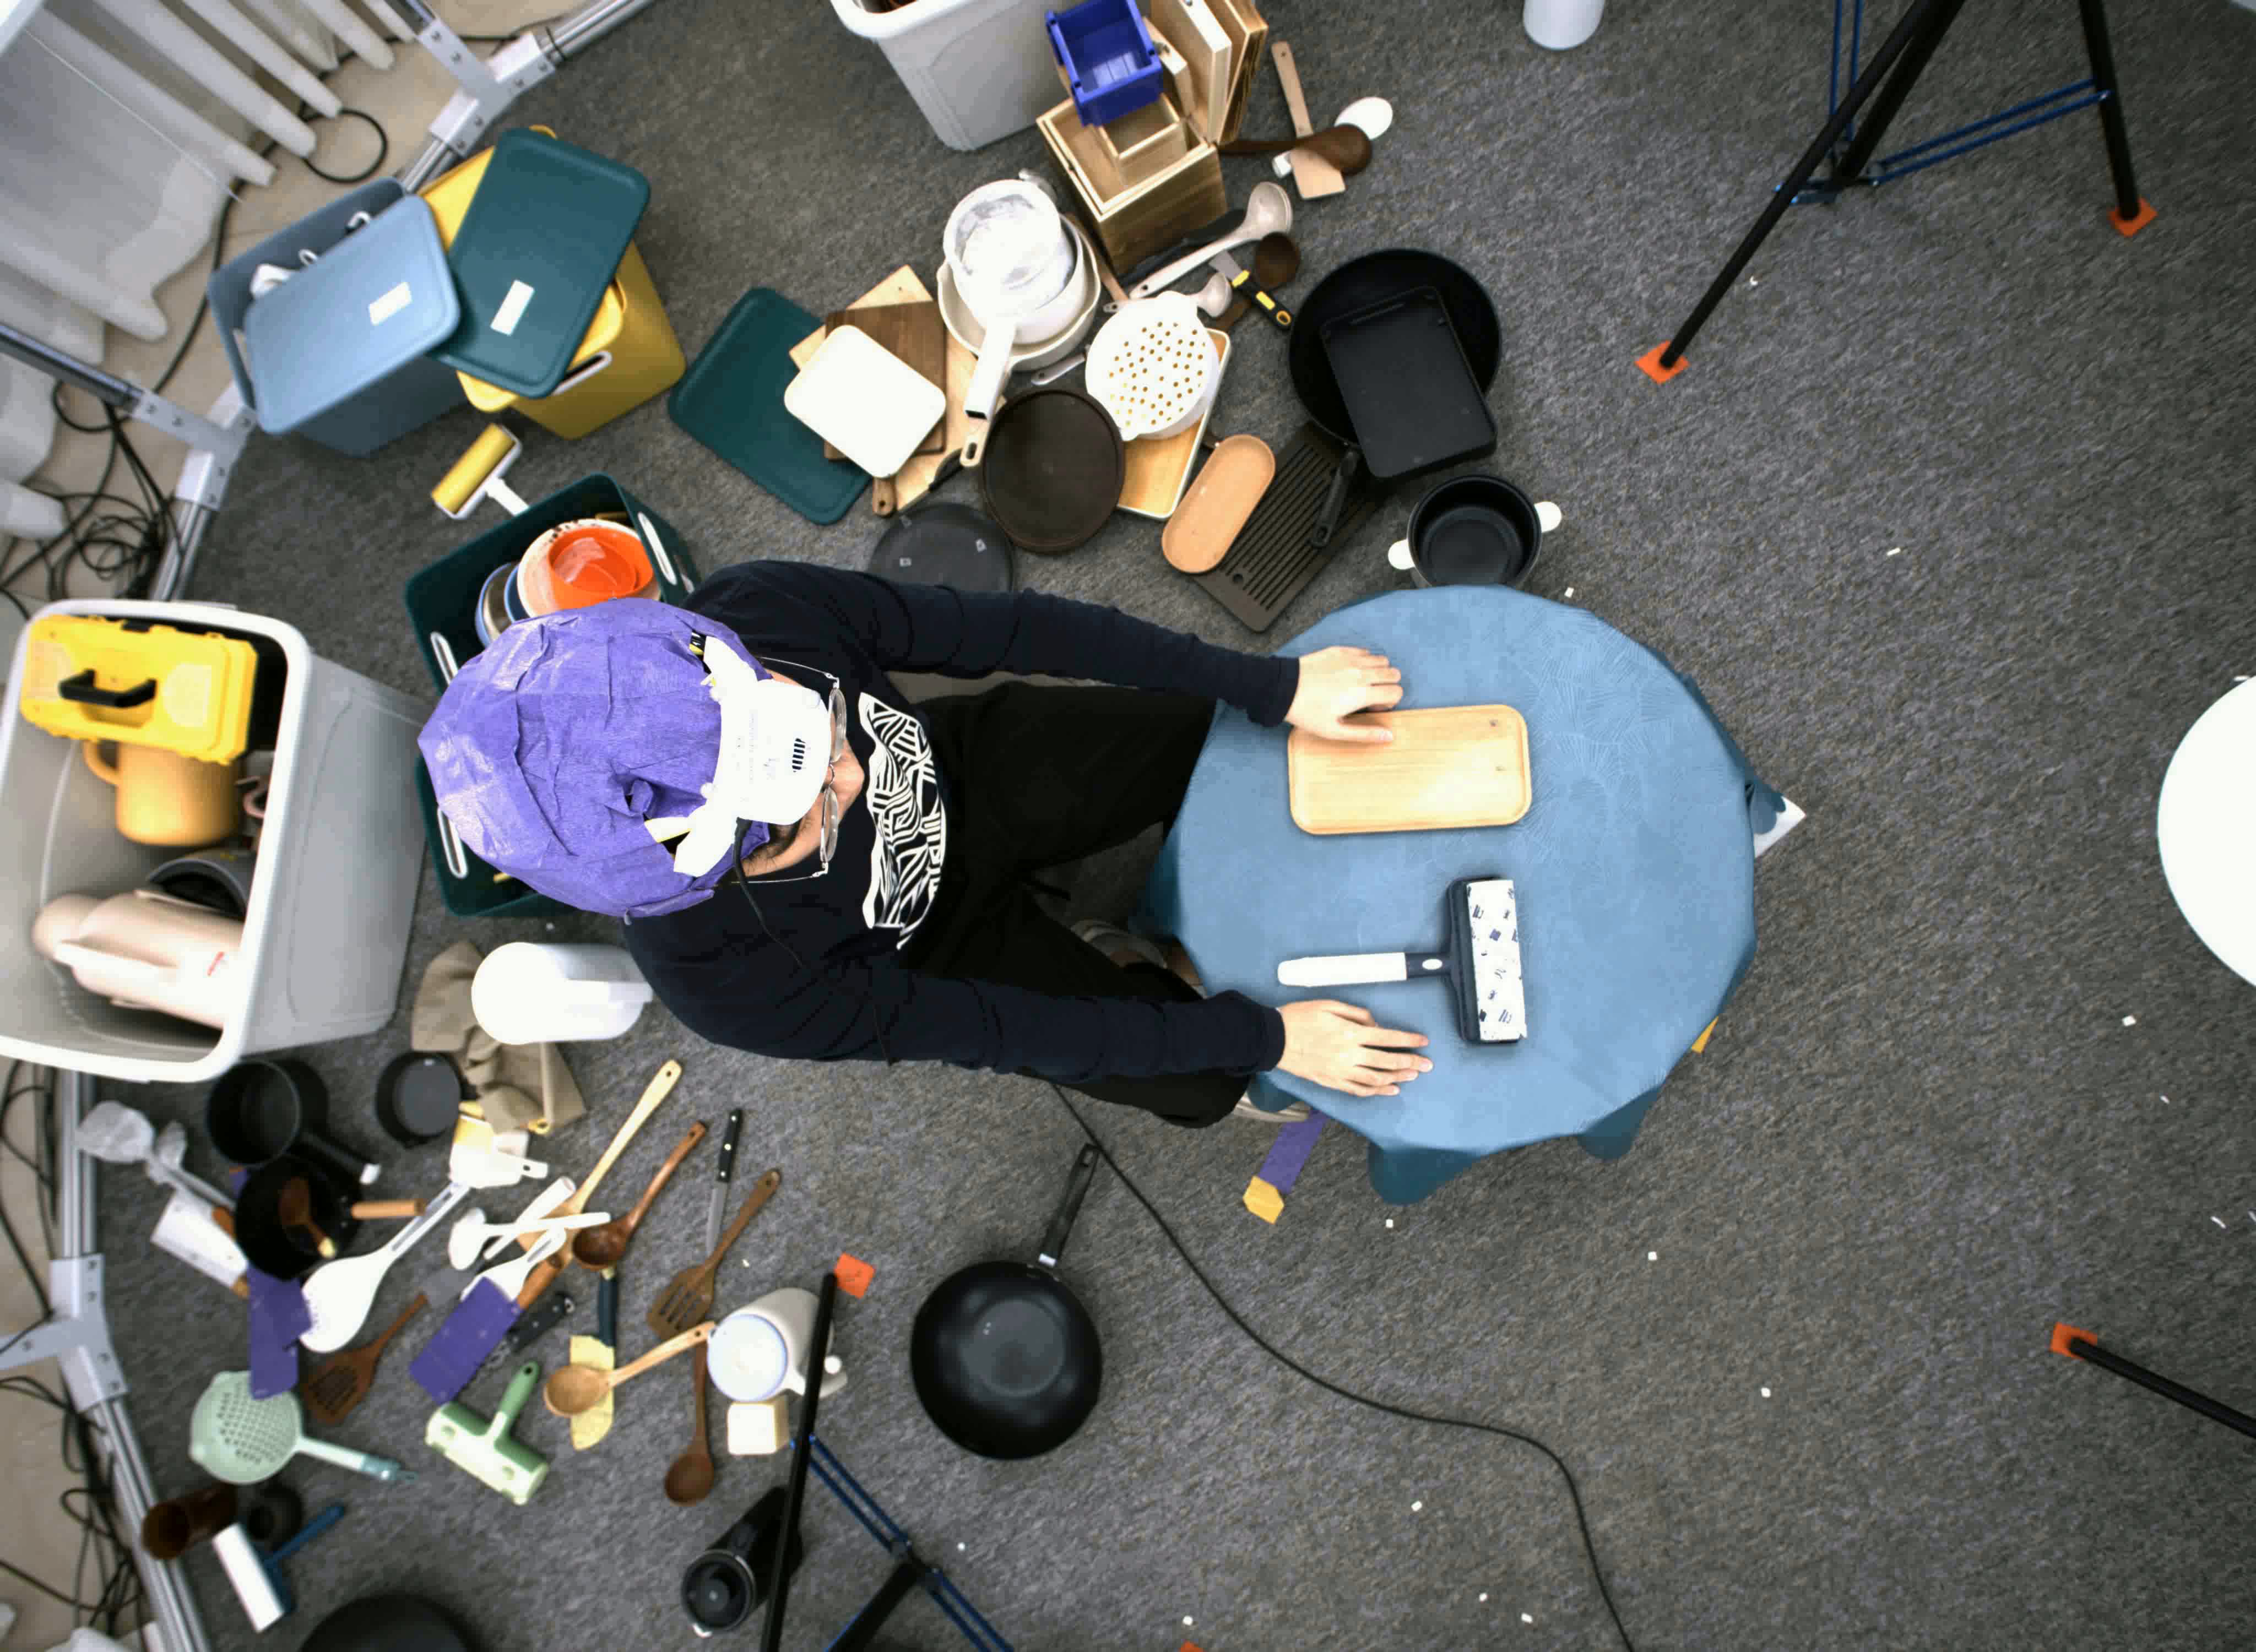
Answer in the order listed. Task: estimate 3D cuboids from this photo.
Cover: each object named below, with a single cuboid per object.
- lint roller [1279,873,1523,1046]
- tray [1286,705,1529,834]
[{"bbox_3d":[0.278,0.146,1.434,0.248,0.050,0.175,-6,86,13],"label":"lint roller"},{"bbox_3d":[0.293,-0.060,1.455,0.252,0.023,0.129,-2,84,12],"label":"tray"}]
